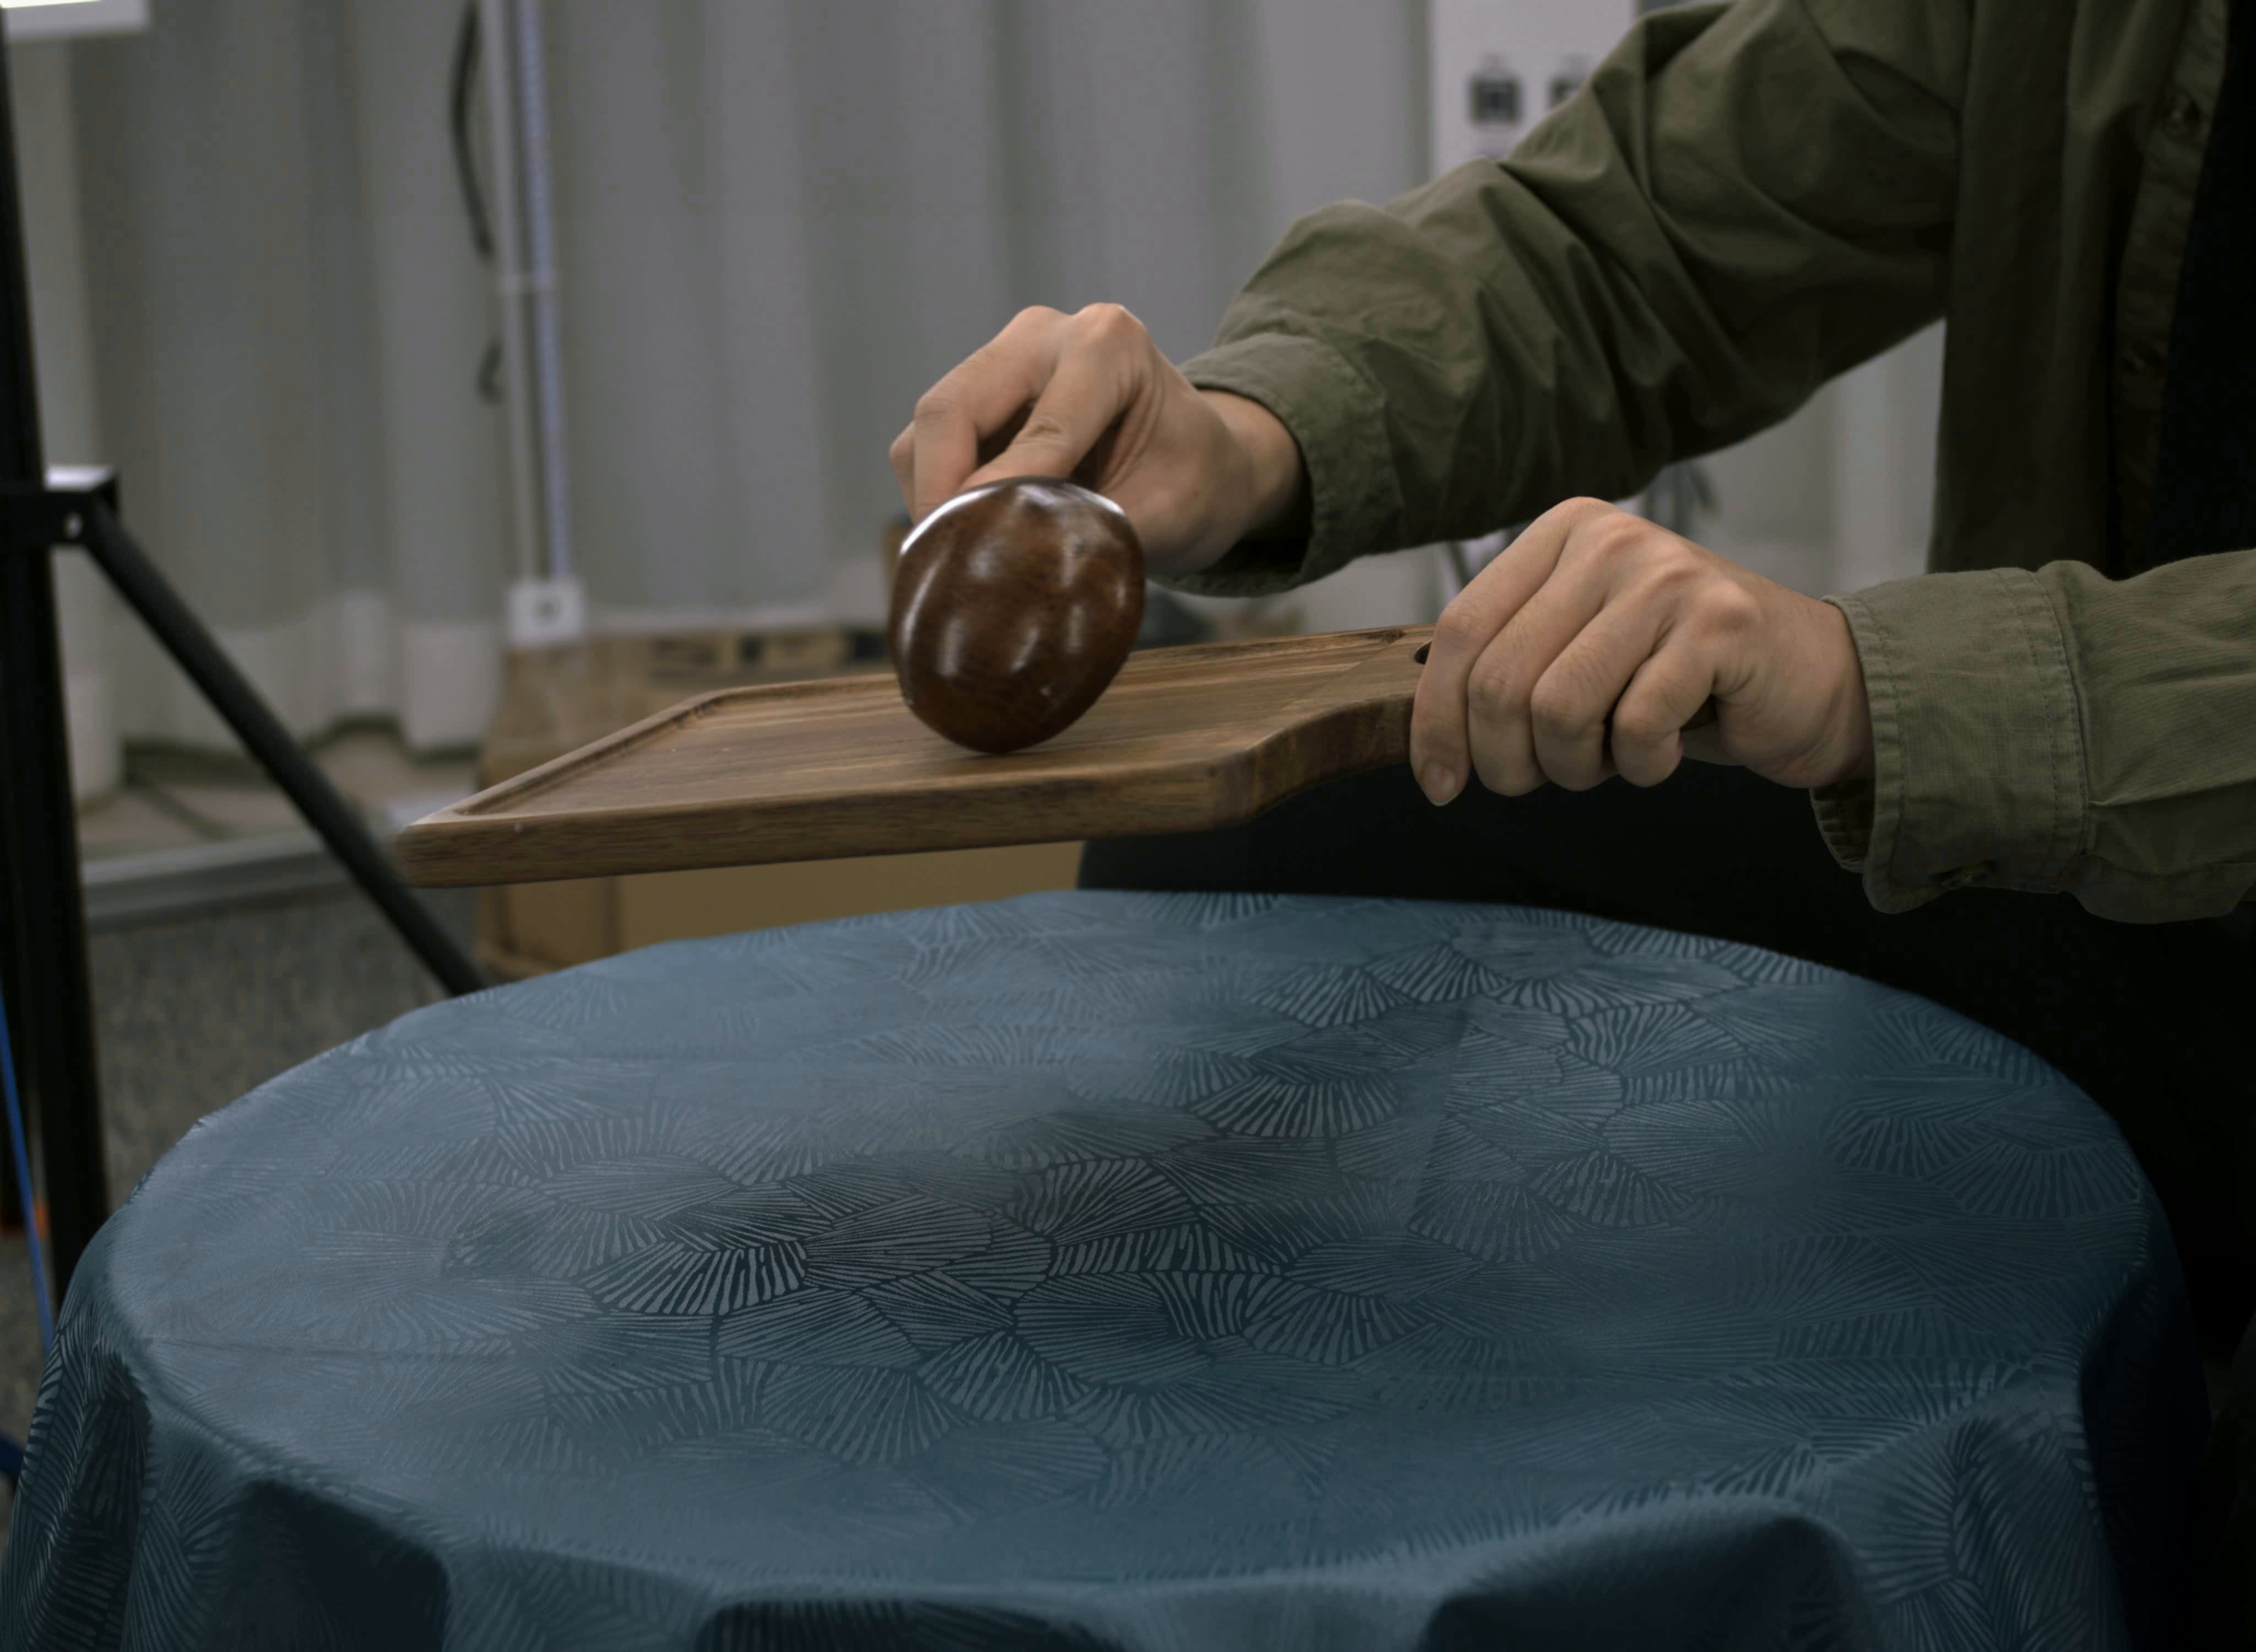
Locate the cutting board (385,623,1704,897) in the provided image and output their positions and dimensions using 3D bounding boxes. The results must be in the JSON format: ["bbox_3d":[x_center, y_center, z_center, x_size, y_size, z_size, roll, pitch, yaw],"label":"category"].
[{"bbox_3d":[-0.011,-0.022,1.469,0.357,0.023,0.198,-4,12,26],"label":"cutting board"}]

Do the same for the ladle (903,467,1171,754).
[{"bbox_3d":[-0.020,-0.069,1.567,0.082,0.077,0.273,-43,0,6],"label":"ladle"}]
